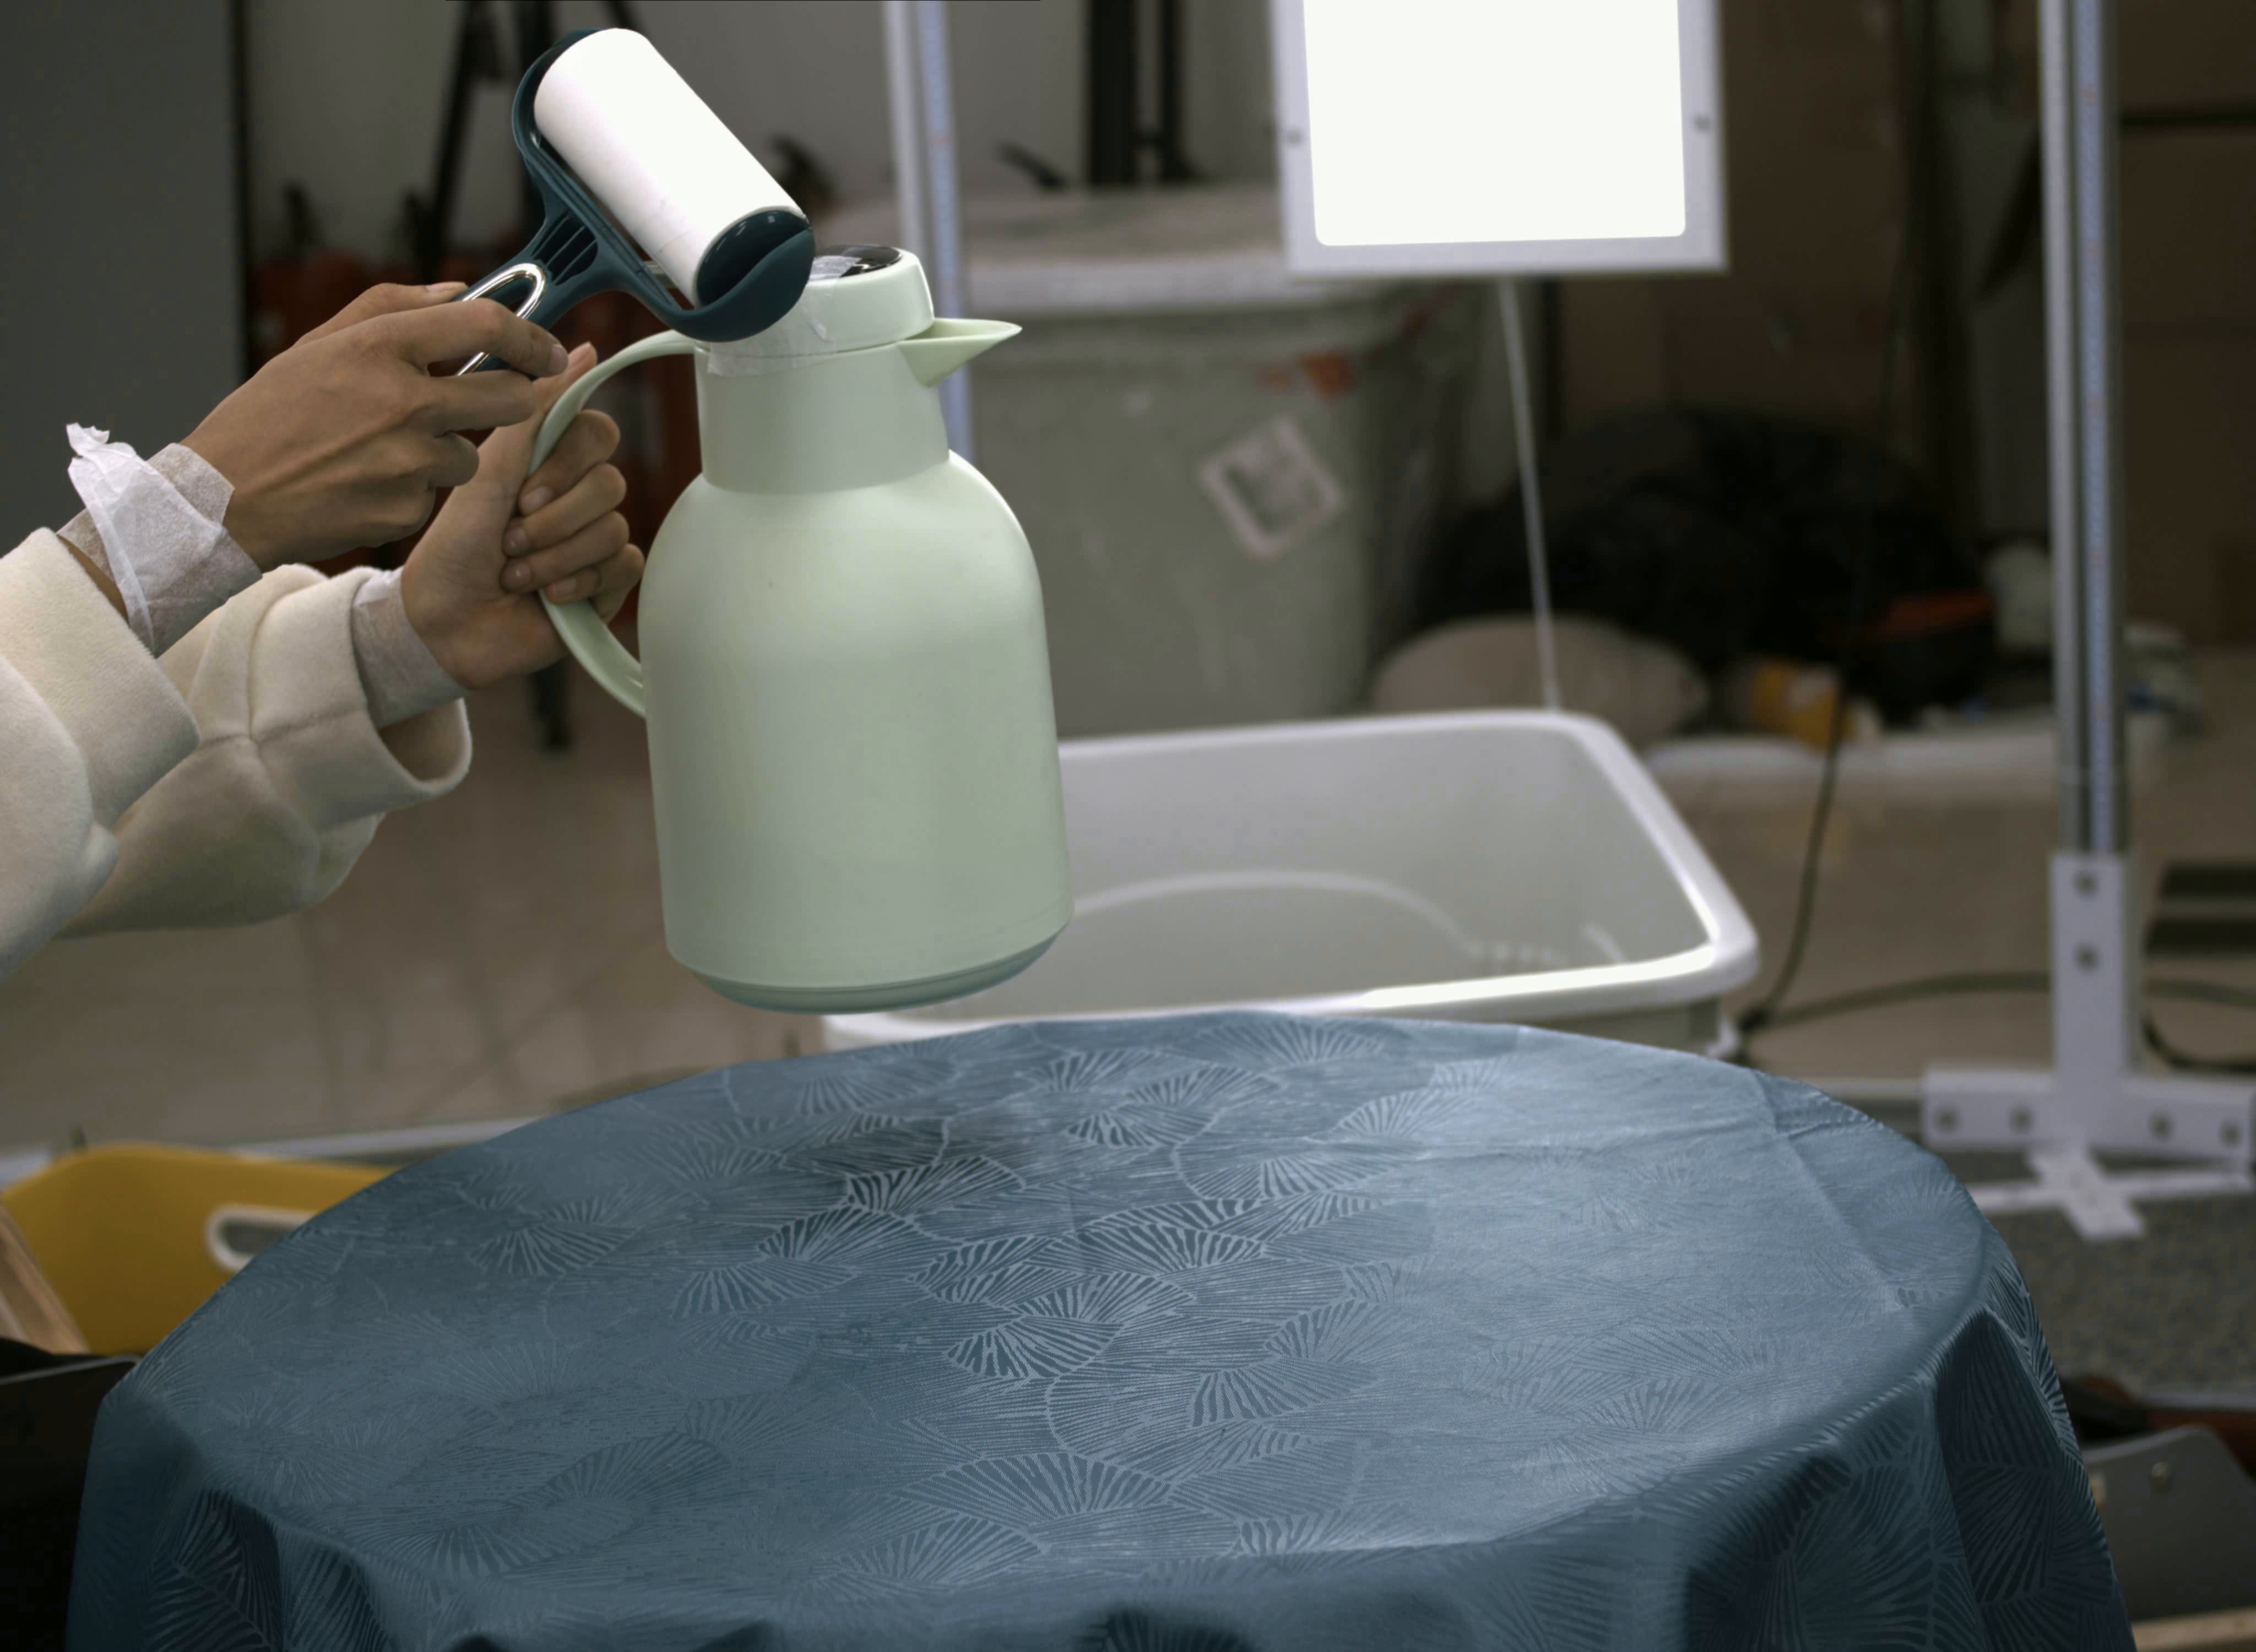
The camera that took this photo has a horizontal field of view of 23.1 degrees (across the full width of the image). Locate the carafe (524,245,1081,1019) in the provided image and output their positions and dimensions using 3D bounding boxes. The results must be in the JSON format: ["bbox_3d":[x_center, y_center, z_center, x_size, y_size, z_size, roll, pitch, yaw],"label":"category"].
[{"bbox_3d":[-0.113,-0.071,1.920,0.189,0.257,0.142,-3,18,19],"label":"carafe"}]

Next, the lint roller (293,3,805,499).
[{"bbox_3d":[-0.204,-0.174,1.795,0.179,0.048,0.136,-36,57,-5],"label":"lint roller"}]
